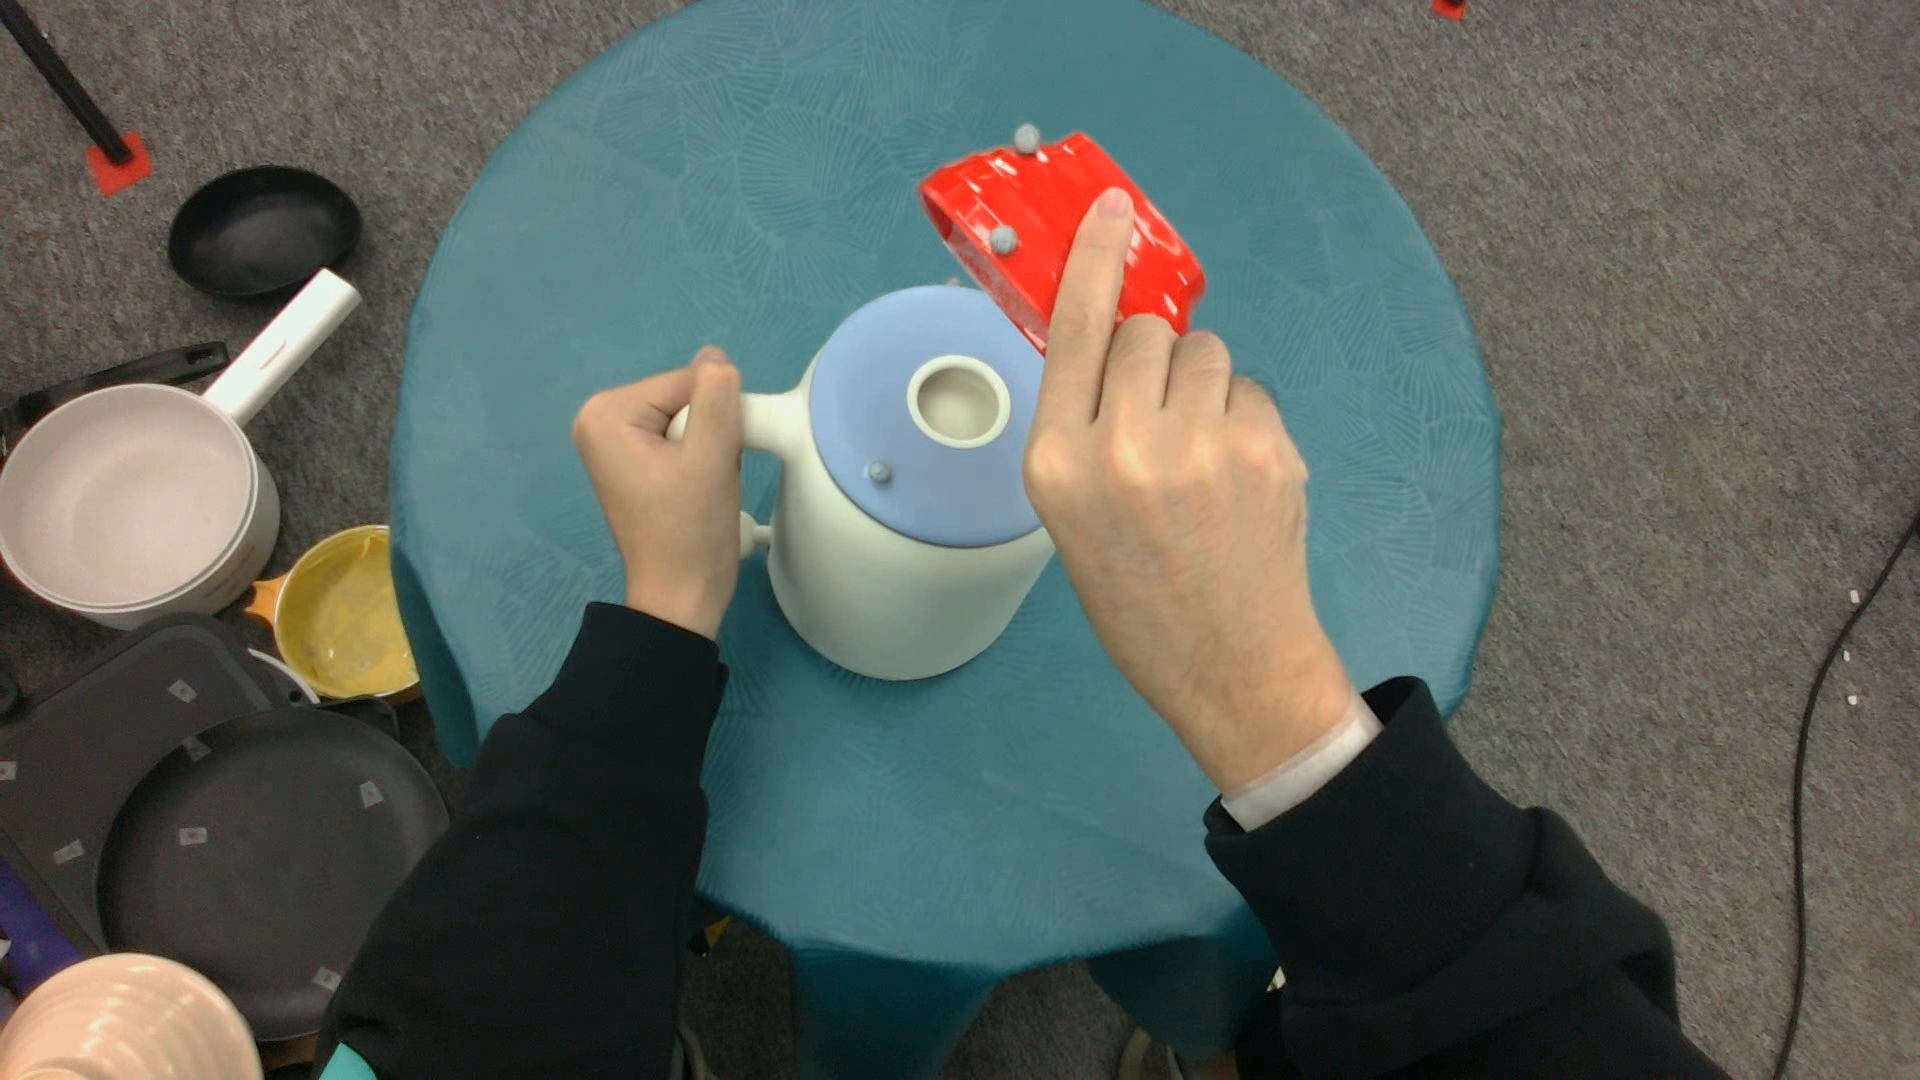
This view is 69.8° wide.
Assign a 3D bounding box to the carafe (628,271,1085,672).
[{"bbox_3d":[-0.053,-0.026,0.622,0.191,0.181,0.132,2,66,-10],"label":"carafe"}]

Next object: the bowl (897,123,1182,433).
[{"bbox_3d":[0.033,-0.093,0.459,0.051,0.119,0.119,-39,78,2],"label":"bowl"}]
